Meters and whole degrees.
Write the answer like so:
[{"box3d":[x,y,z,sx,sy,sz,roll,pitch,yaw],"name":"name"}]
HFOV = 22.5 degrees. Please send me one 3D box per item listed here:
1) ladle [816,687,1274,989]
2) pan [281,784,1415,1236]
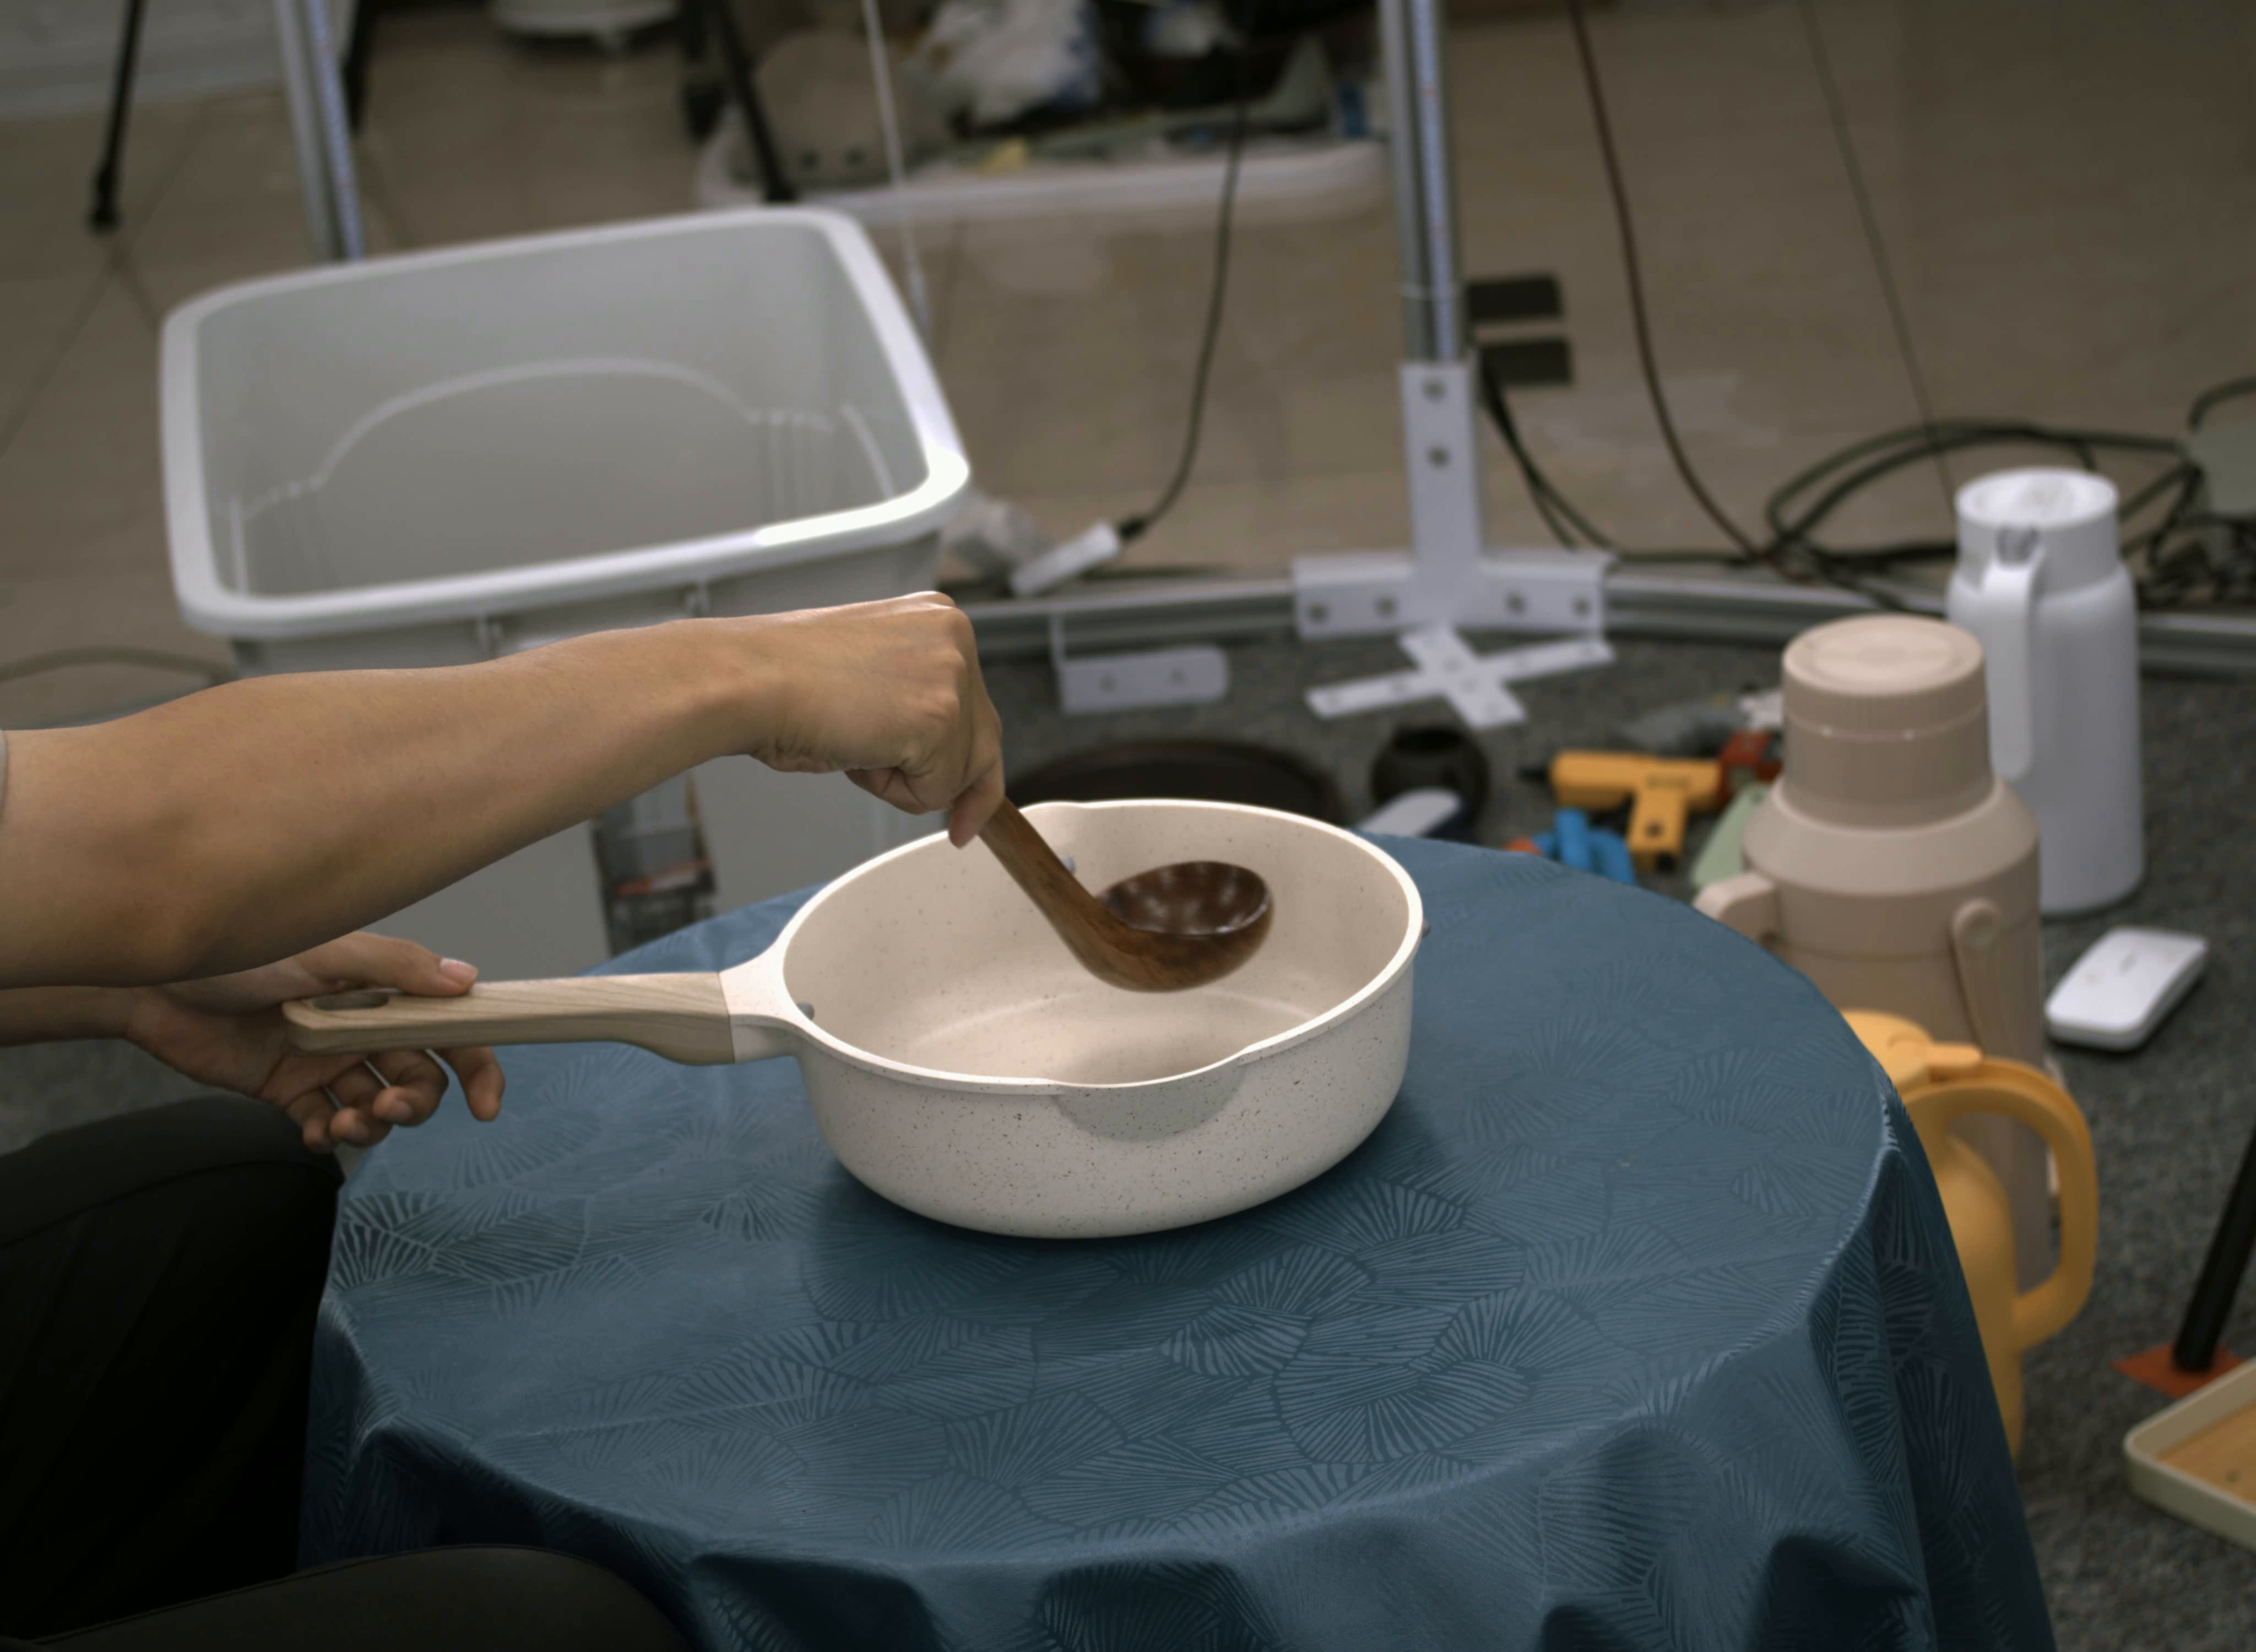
[{"box3d":[-0.031,-0.012,2.117,0.082,0.278,0.075,-2,62,29],"name":"ladle"},{"box3d":[-0.102,0.083,2.177,0.434,0.103,0.259,-9,27,-7],"name":"pan"}]
